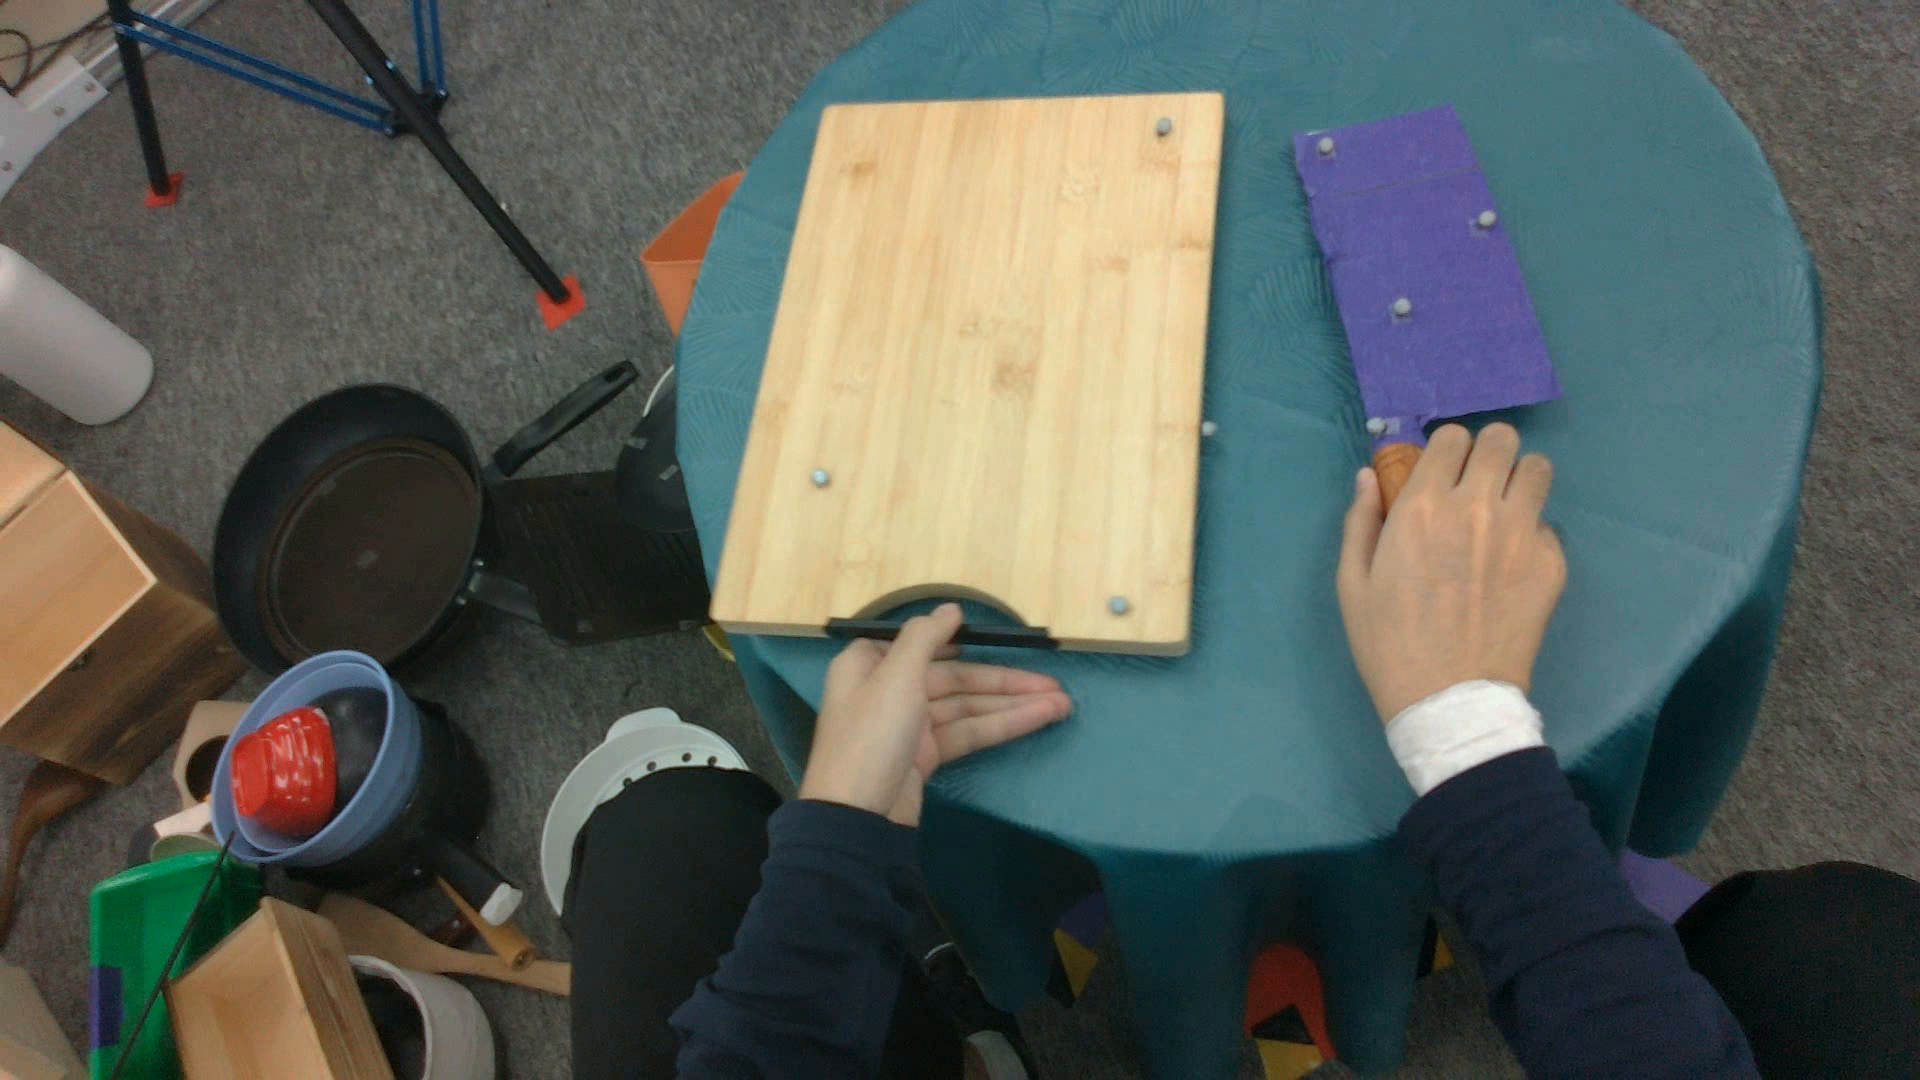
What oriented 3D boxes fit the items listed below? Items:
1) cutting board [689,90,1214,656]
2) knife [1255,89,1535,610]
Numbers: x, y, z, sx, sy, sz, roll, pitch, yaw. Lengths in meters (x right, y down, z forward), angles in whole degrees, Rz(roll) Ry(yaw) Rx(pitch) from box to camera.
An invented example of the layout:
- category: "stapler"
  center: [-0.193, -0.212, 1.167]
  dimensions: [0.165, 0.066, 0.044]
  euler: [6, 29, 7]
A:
- category: "cutting board"
  center: [0.006, -0.106, 0.745]
  dimensions: [0.250, 0.023, 0.350]
  euler: [1, 63, 13]
- category: "knife"
  center: [0.230, -0.115, 0.692]
  dimensions: [0.104, 0.032, 0.316]
  euler: [-10, 60, 7]
